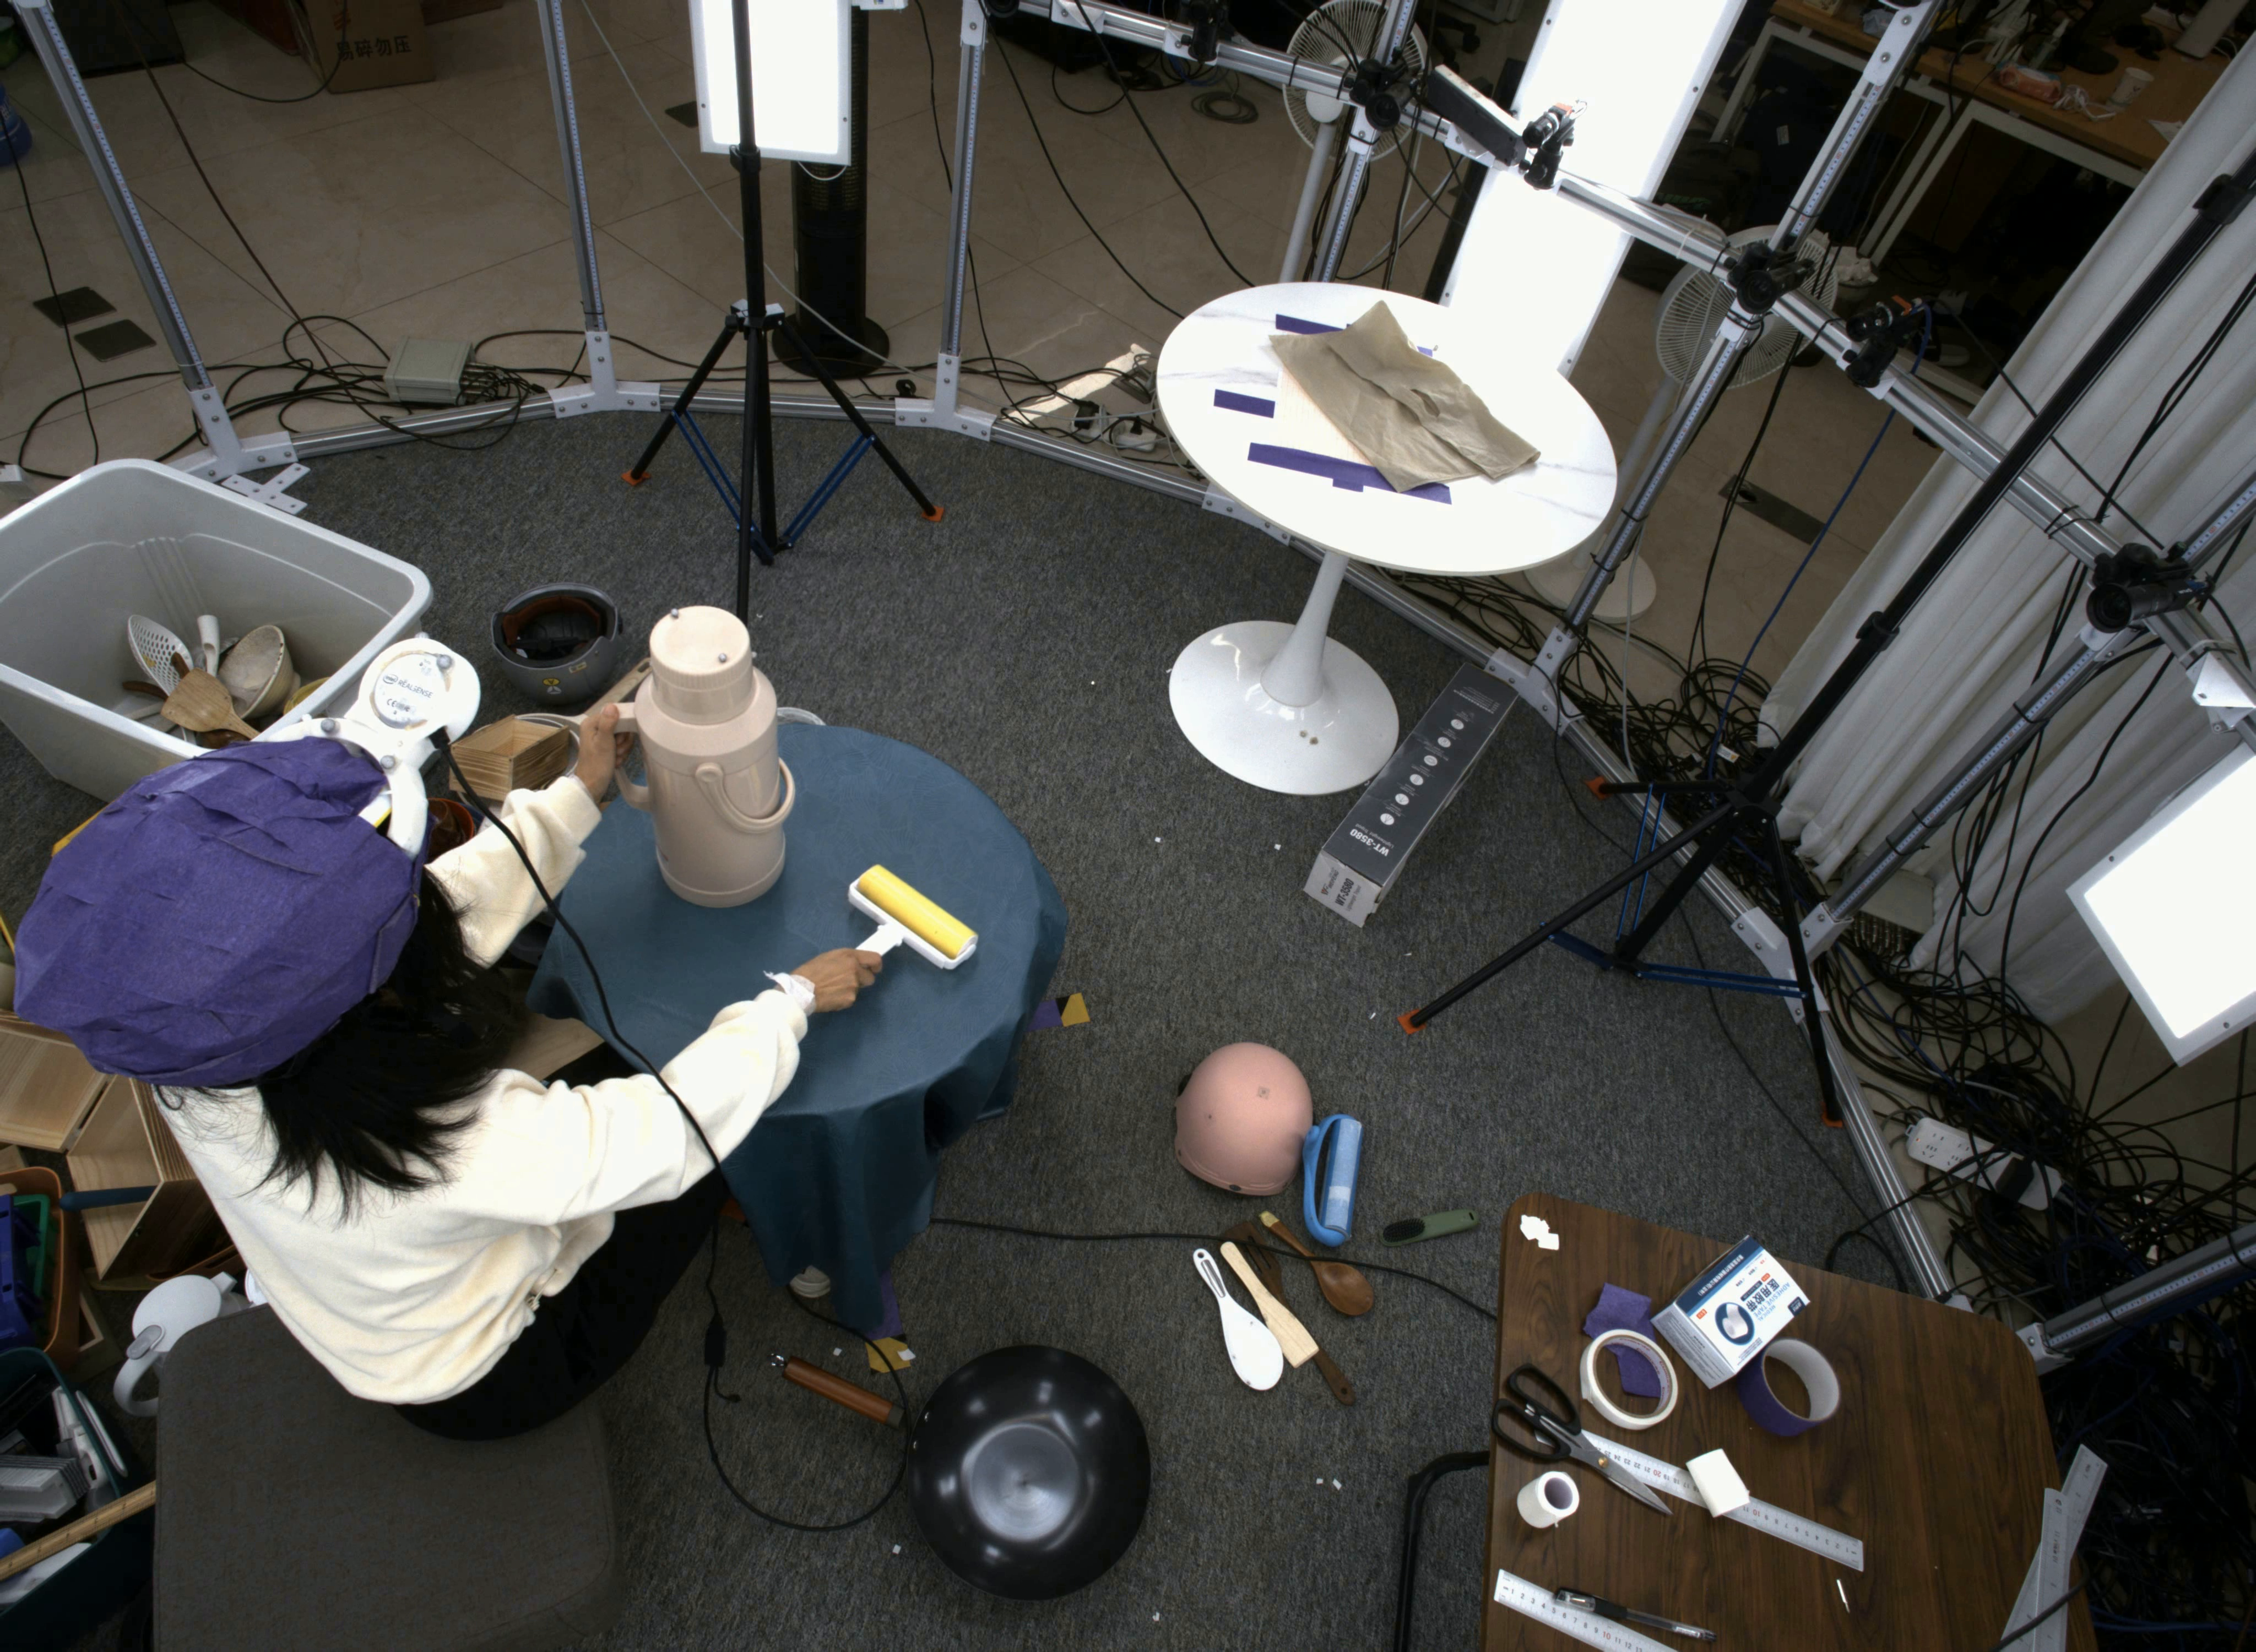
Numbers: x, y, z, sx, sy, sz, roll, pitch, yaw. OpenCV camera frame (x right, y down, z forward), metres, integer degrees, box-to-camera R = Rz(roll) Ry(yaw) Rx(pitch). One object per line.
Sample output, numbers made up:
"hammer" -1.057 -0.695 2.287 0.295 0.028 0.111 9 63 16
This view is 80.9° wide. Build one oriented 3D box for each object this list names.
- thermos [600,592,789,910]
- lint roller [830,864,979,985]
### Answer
"thermos" -0.504 -0.084 1.504 0.207 0.415 0.171 -5 54 -16
"lint roller" -0.296 0.133 1.588 0.171 0.052 0.192 33 28 10
